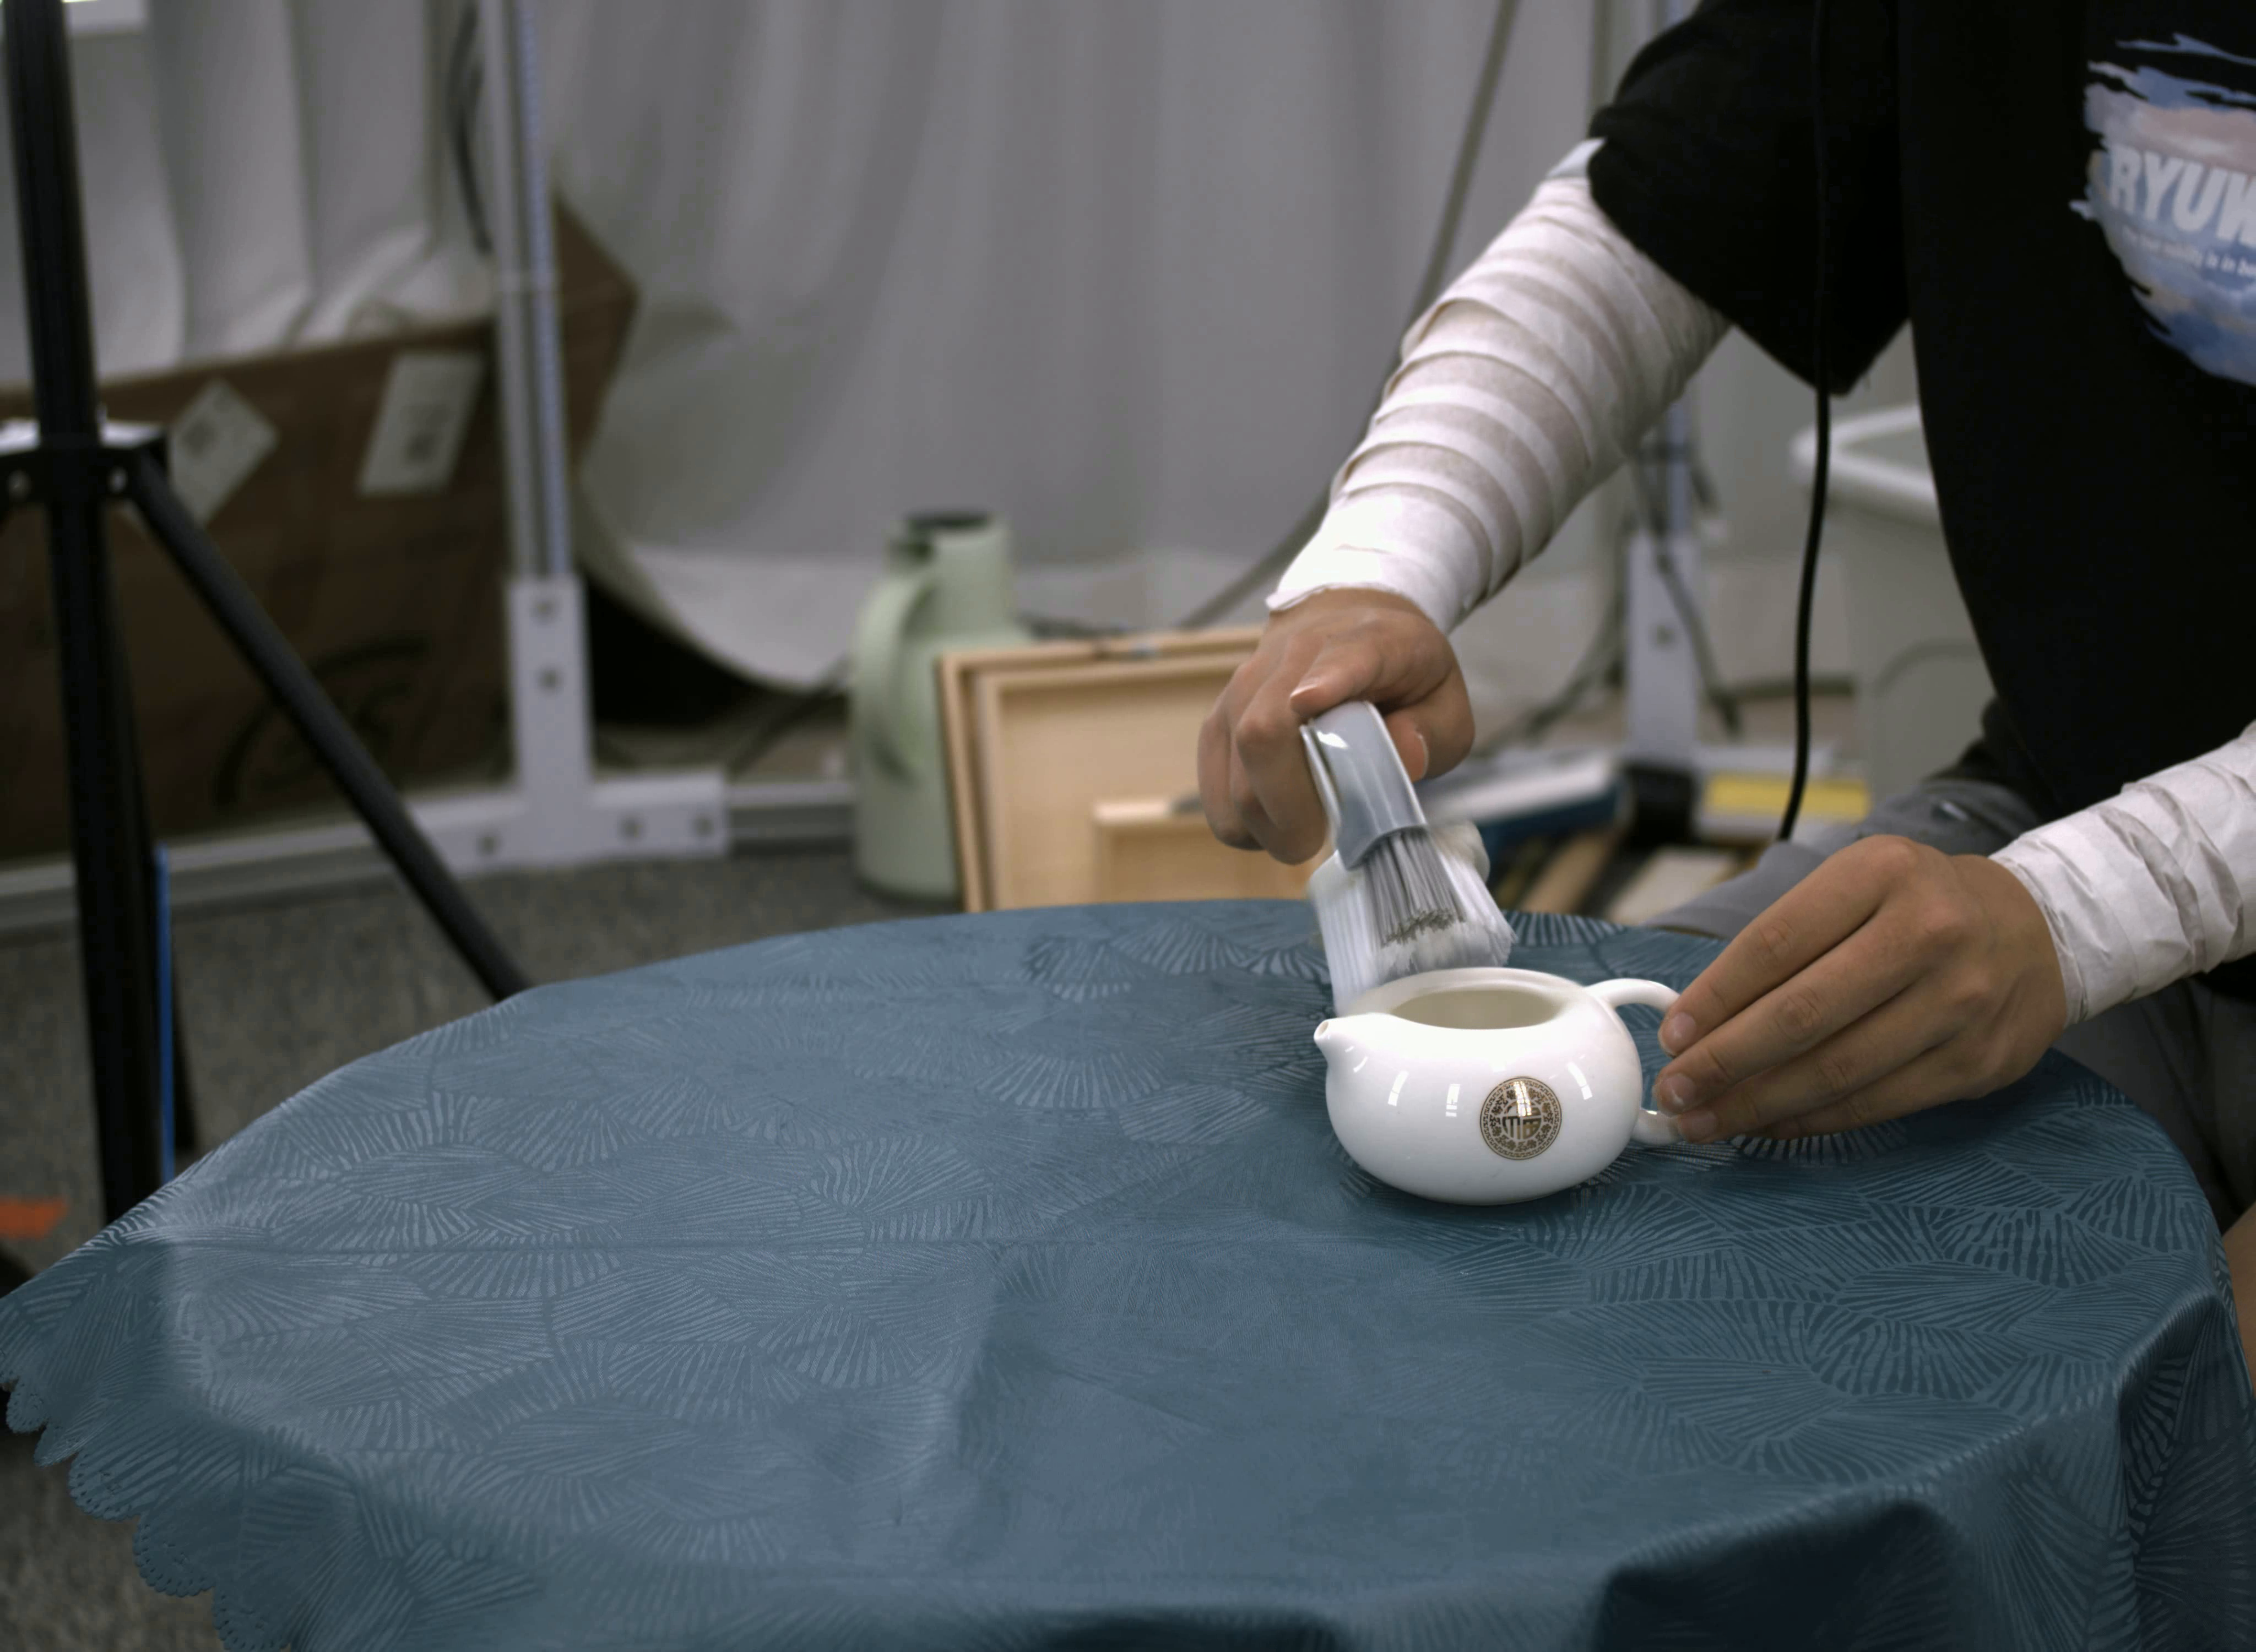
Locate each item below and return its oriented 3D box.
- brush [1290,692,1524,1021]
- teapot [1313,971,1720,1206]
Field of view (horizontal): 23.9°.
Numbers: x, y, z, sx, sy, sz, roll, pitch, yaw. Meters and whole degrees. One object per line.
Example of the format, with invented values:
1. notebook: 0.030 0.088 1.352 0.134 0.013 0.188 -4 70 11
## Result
1. brush: 0.079 0.002 1.619 0.061 0.095 0.174 -23 -9 -1
2. teapot: 0.115 0.076 1.556 0.125 0.057 0.095 -6 12 -19
